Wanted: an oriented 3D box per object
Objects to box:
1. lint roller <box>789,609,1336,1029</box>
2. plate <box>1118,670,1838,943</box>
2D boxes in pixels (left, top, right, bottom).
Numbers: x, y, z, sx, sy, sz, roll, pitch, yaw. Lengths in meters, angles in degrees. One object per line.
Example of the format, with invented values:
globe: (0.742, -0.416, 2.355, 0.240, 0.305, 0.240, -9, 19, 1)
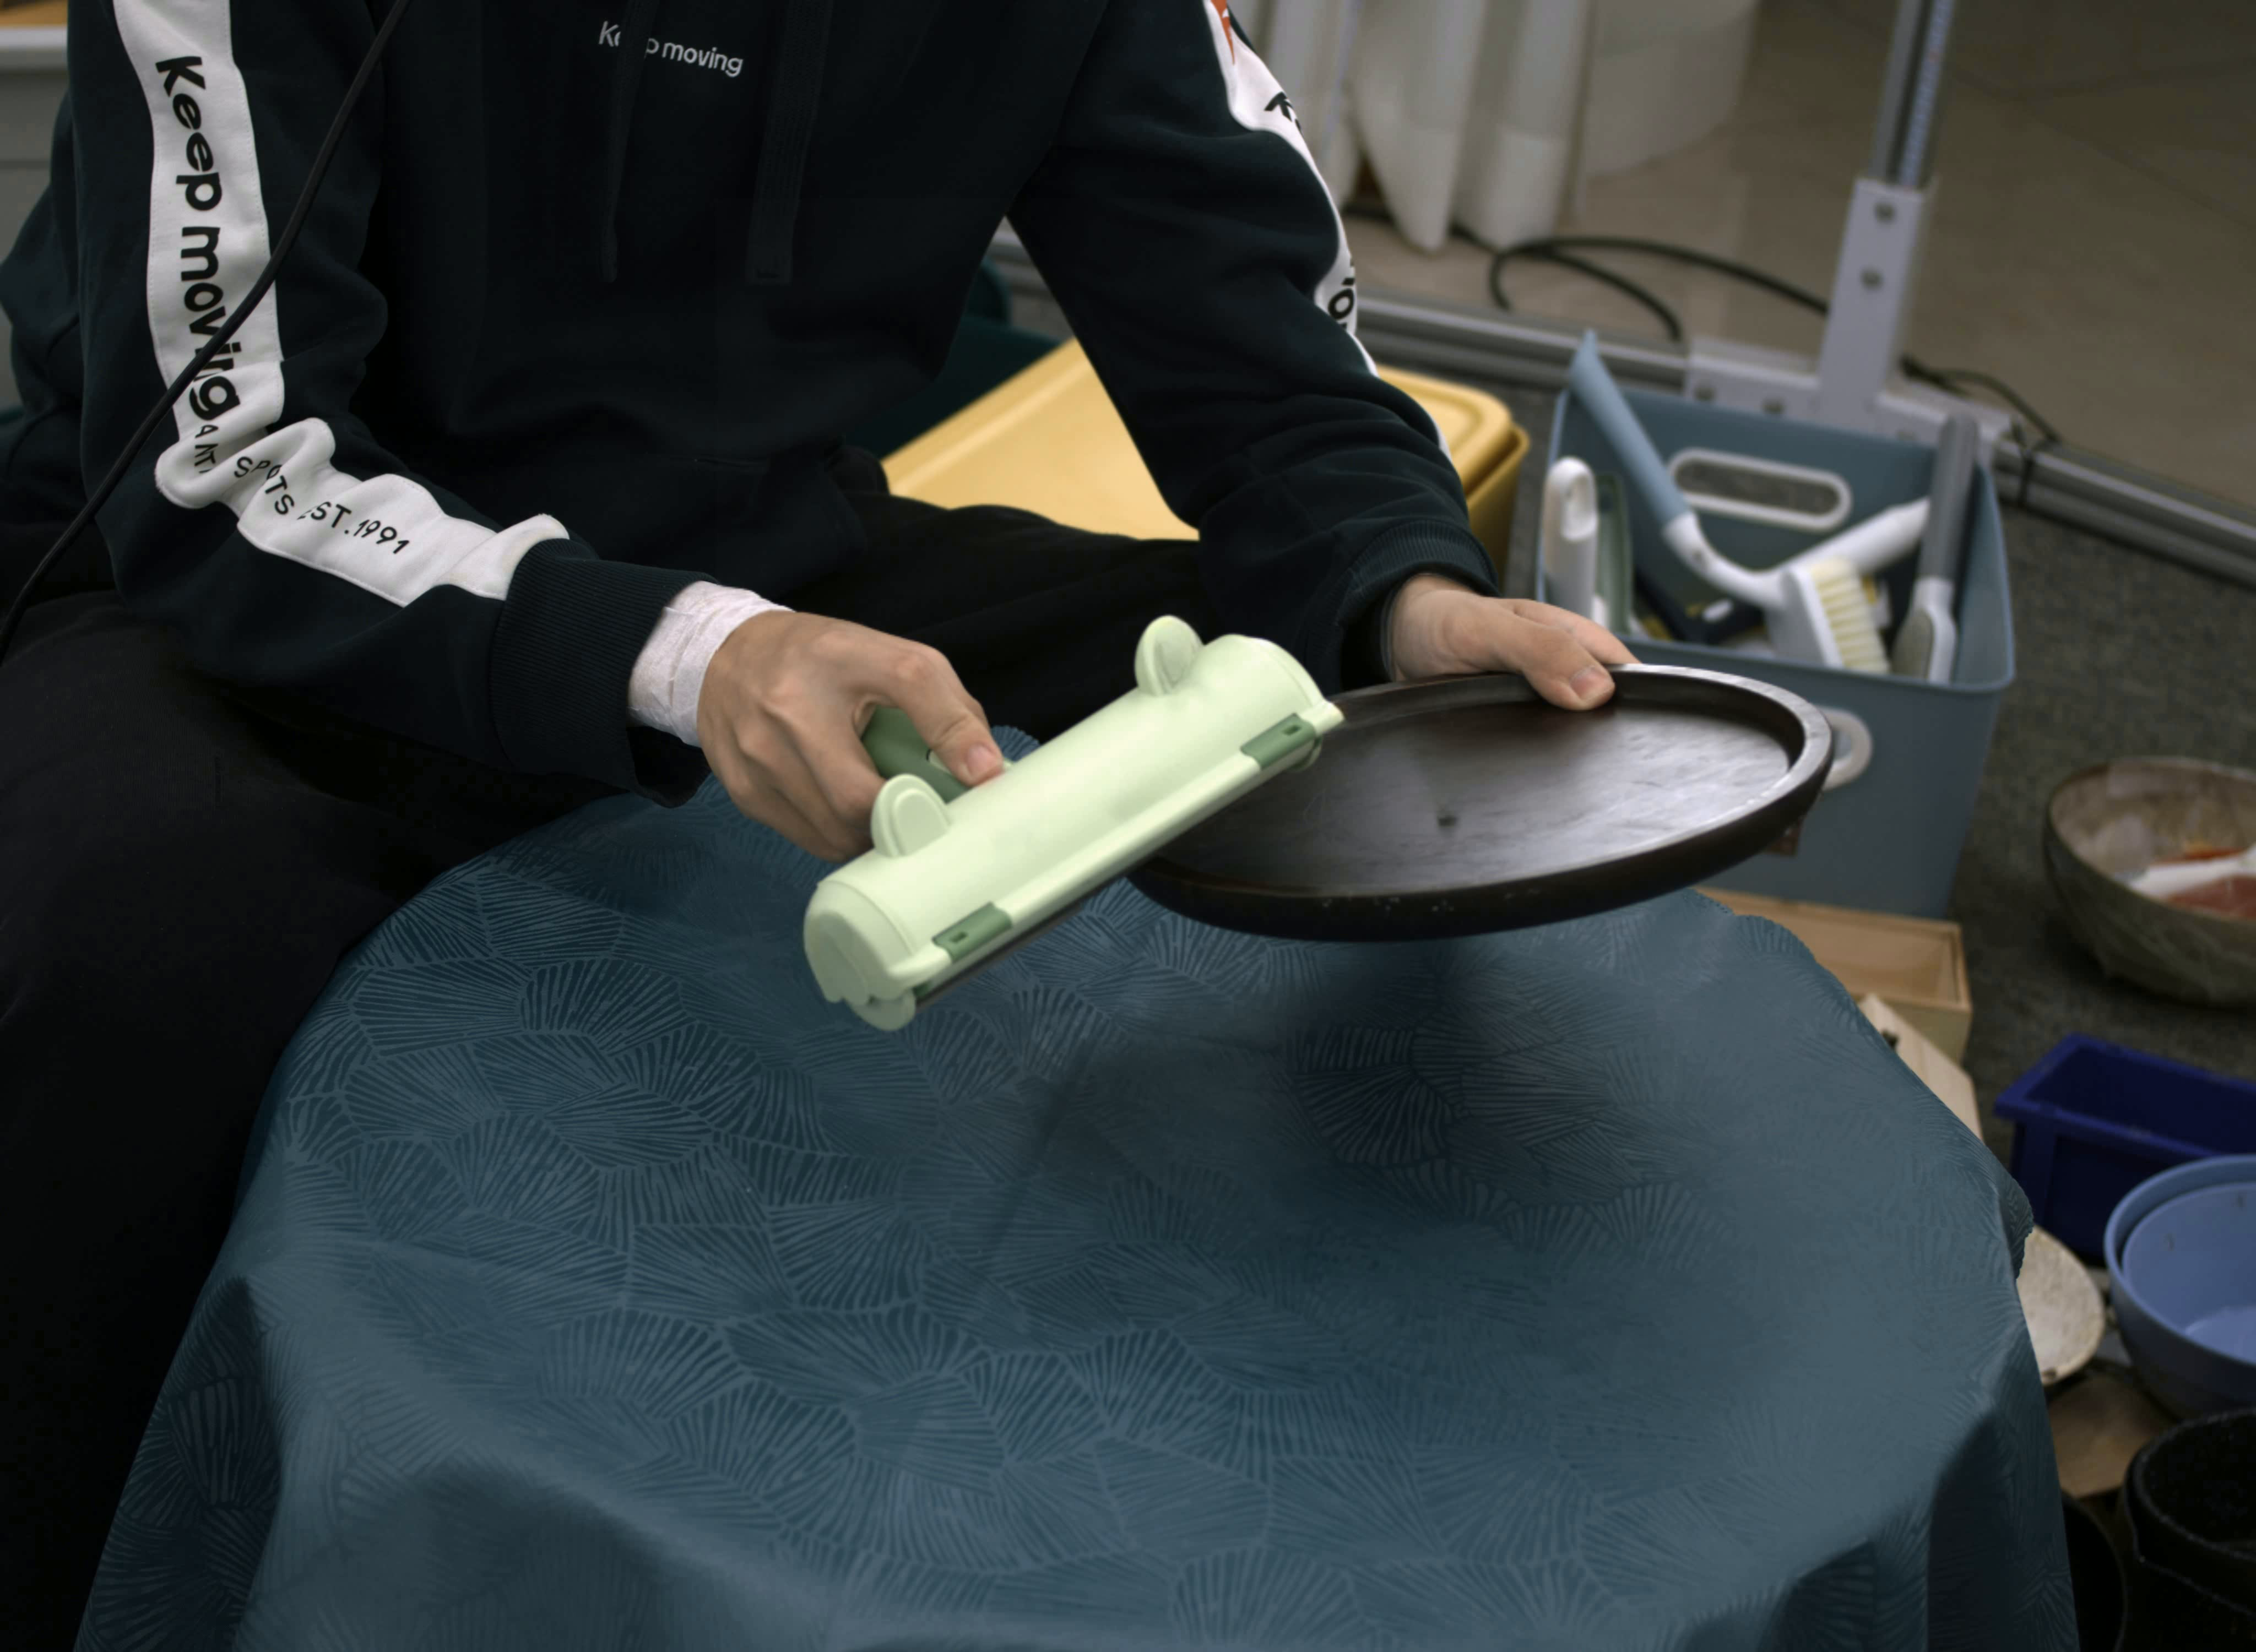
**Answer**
lint roller: (-0.058, -0.028, 1.790, 0.198, 0.081, 0.185, -32, 42, -29)
plate: (0.117, -0.009, 1.821, 0.254, 0.029, 0.256, -9, 17, 2)
